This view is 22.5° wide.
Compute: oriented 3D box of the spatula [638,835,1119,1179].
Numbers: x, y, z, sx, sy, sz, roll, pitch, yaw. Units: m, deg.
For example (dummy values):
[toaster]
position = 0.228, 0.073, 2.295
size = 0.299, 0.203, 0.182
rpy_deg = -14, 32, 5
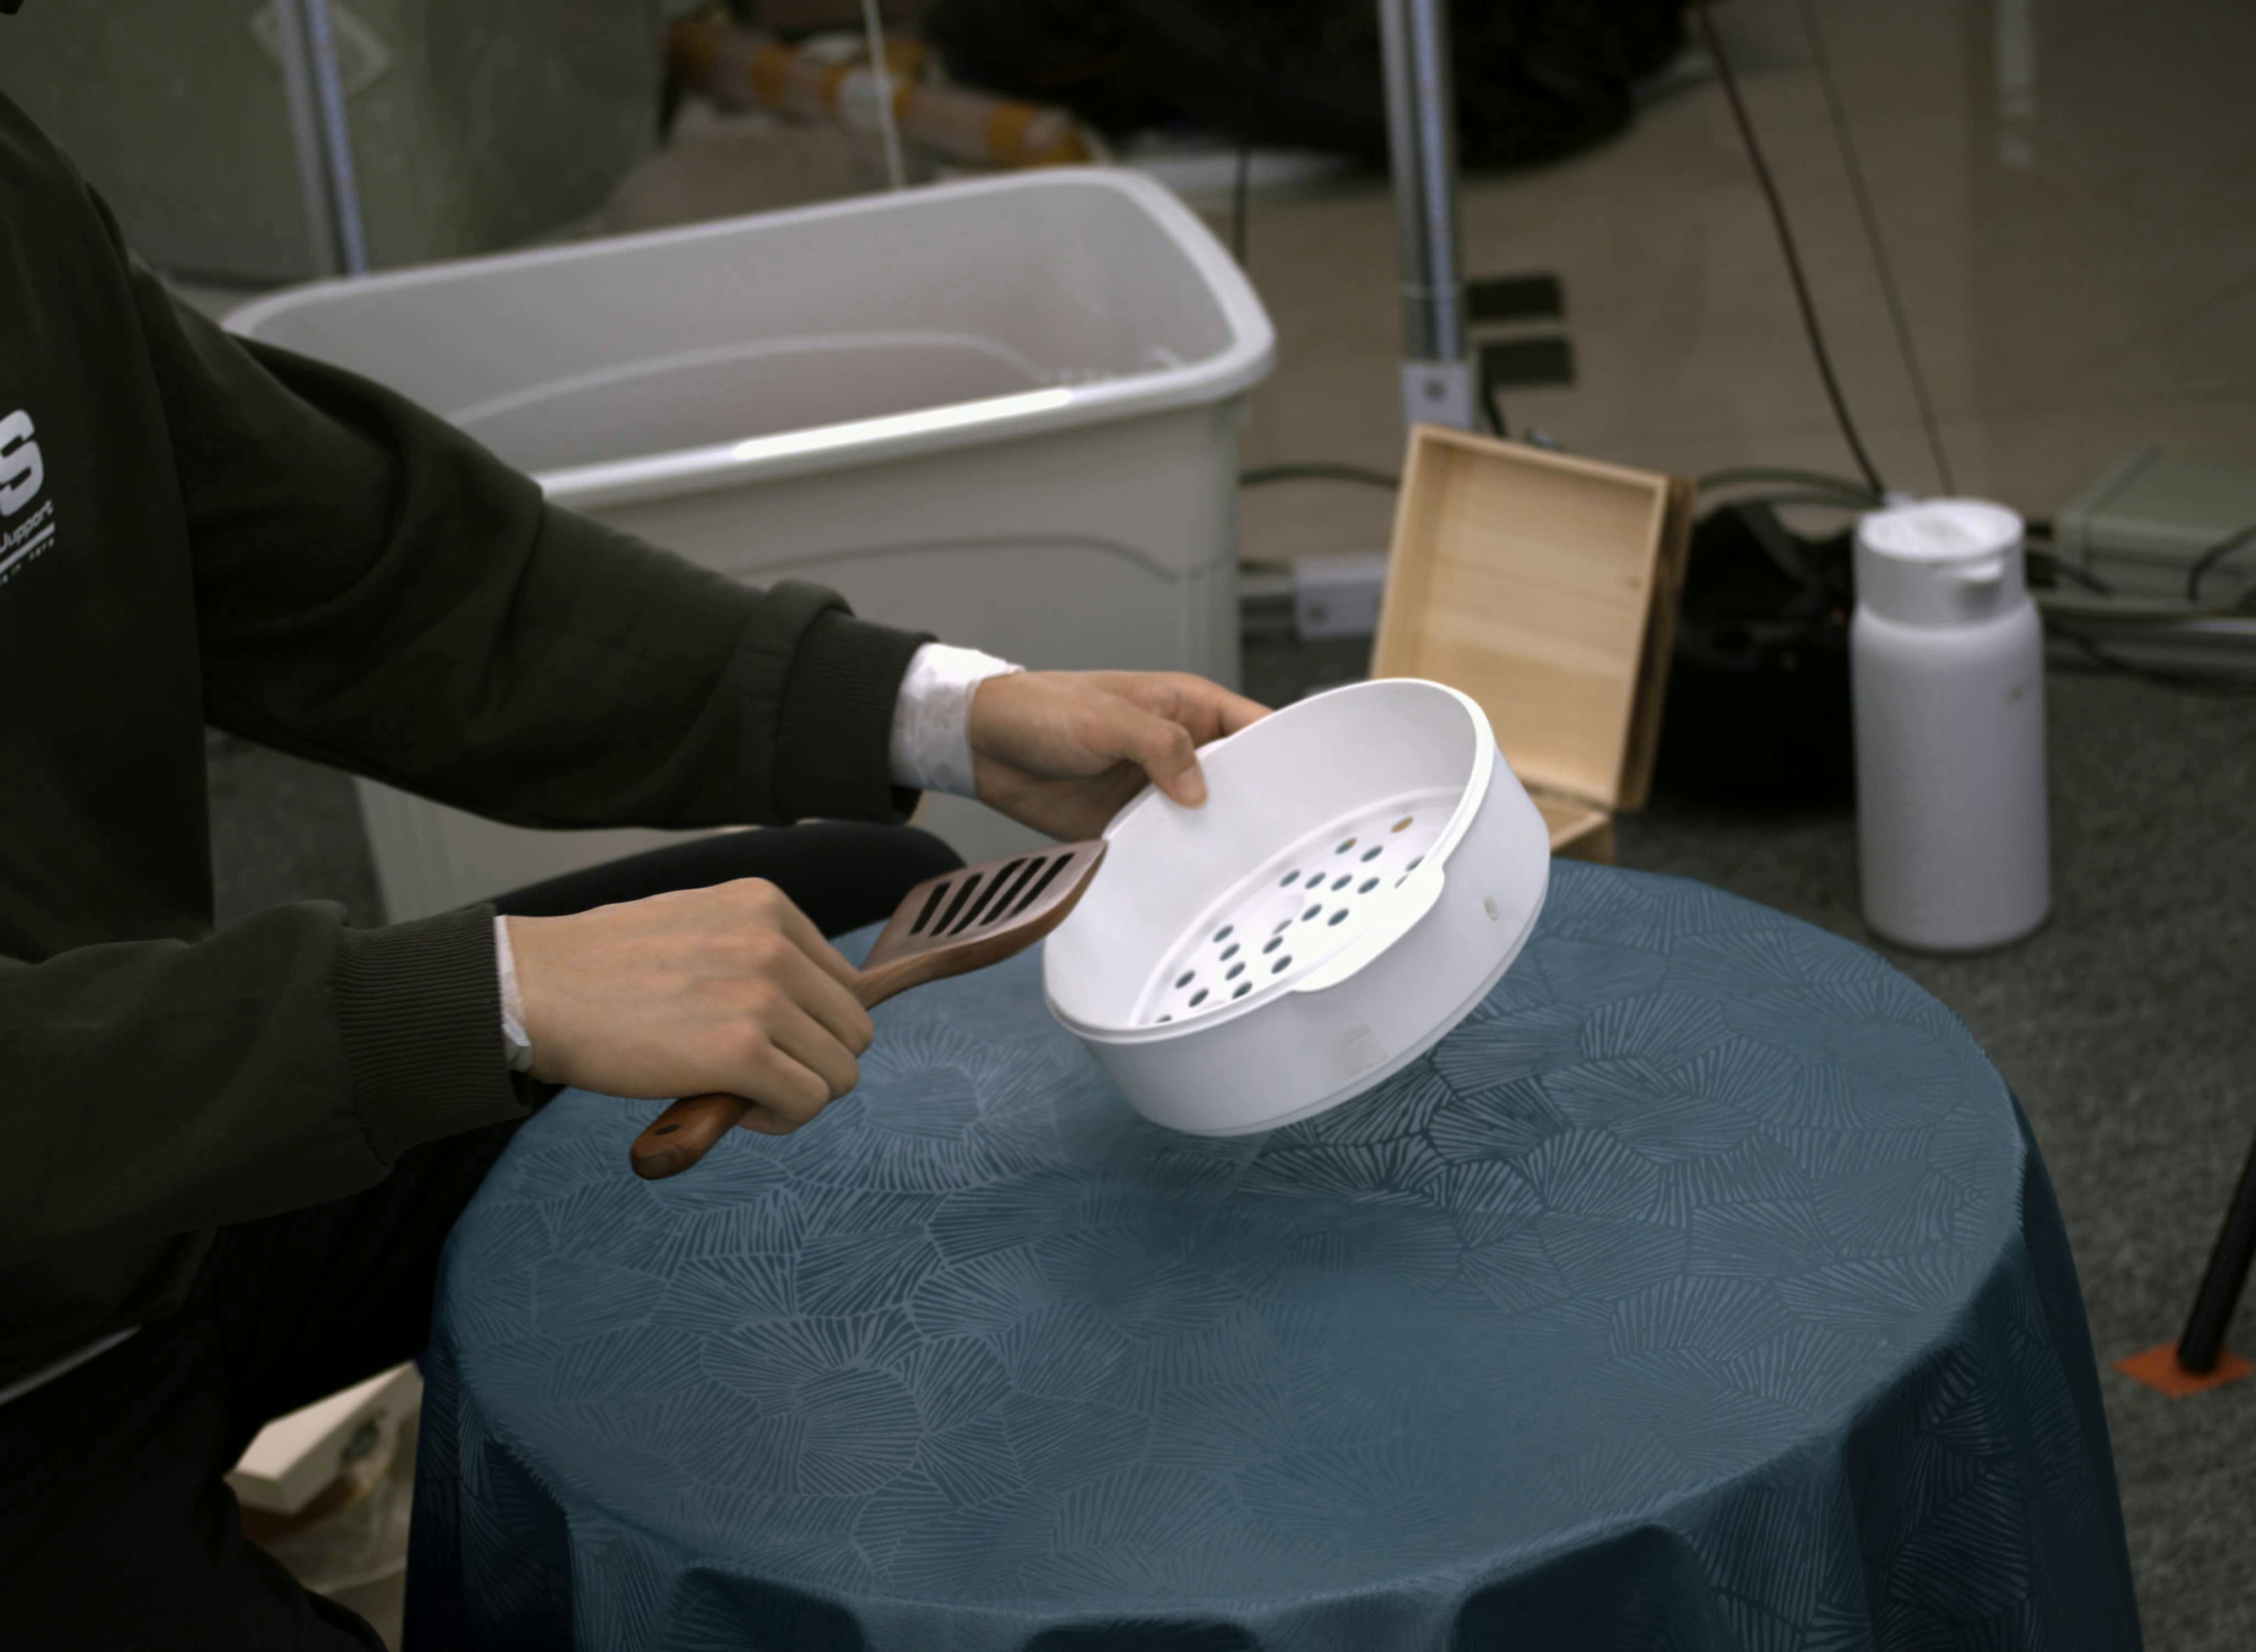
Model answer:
[spatula]
position = -0.092, 0.063, 2.001
size = 0.086, 0.024, 0.382
rpy_deg = -11, 10, 20

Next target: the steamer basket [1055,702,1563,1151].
[steamer basket]
position = 0.072, 0.040, 2.161
size = 0.201, 0.070, 0.229
rpy_deg = -39, 21, -7
